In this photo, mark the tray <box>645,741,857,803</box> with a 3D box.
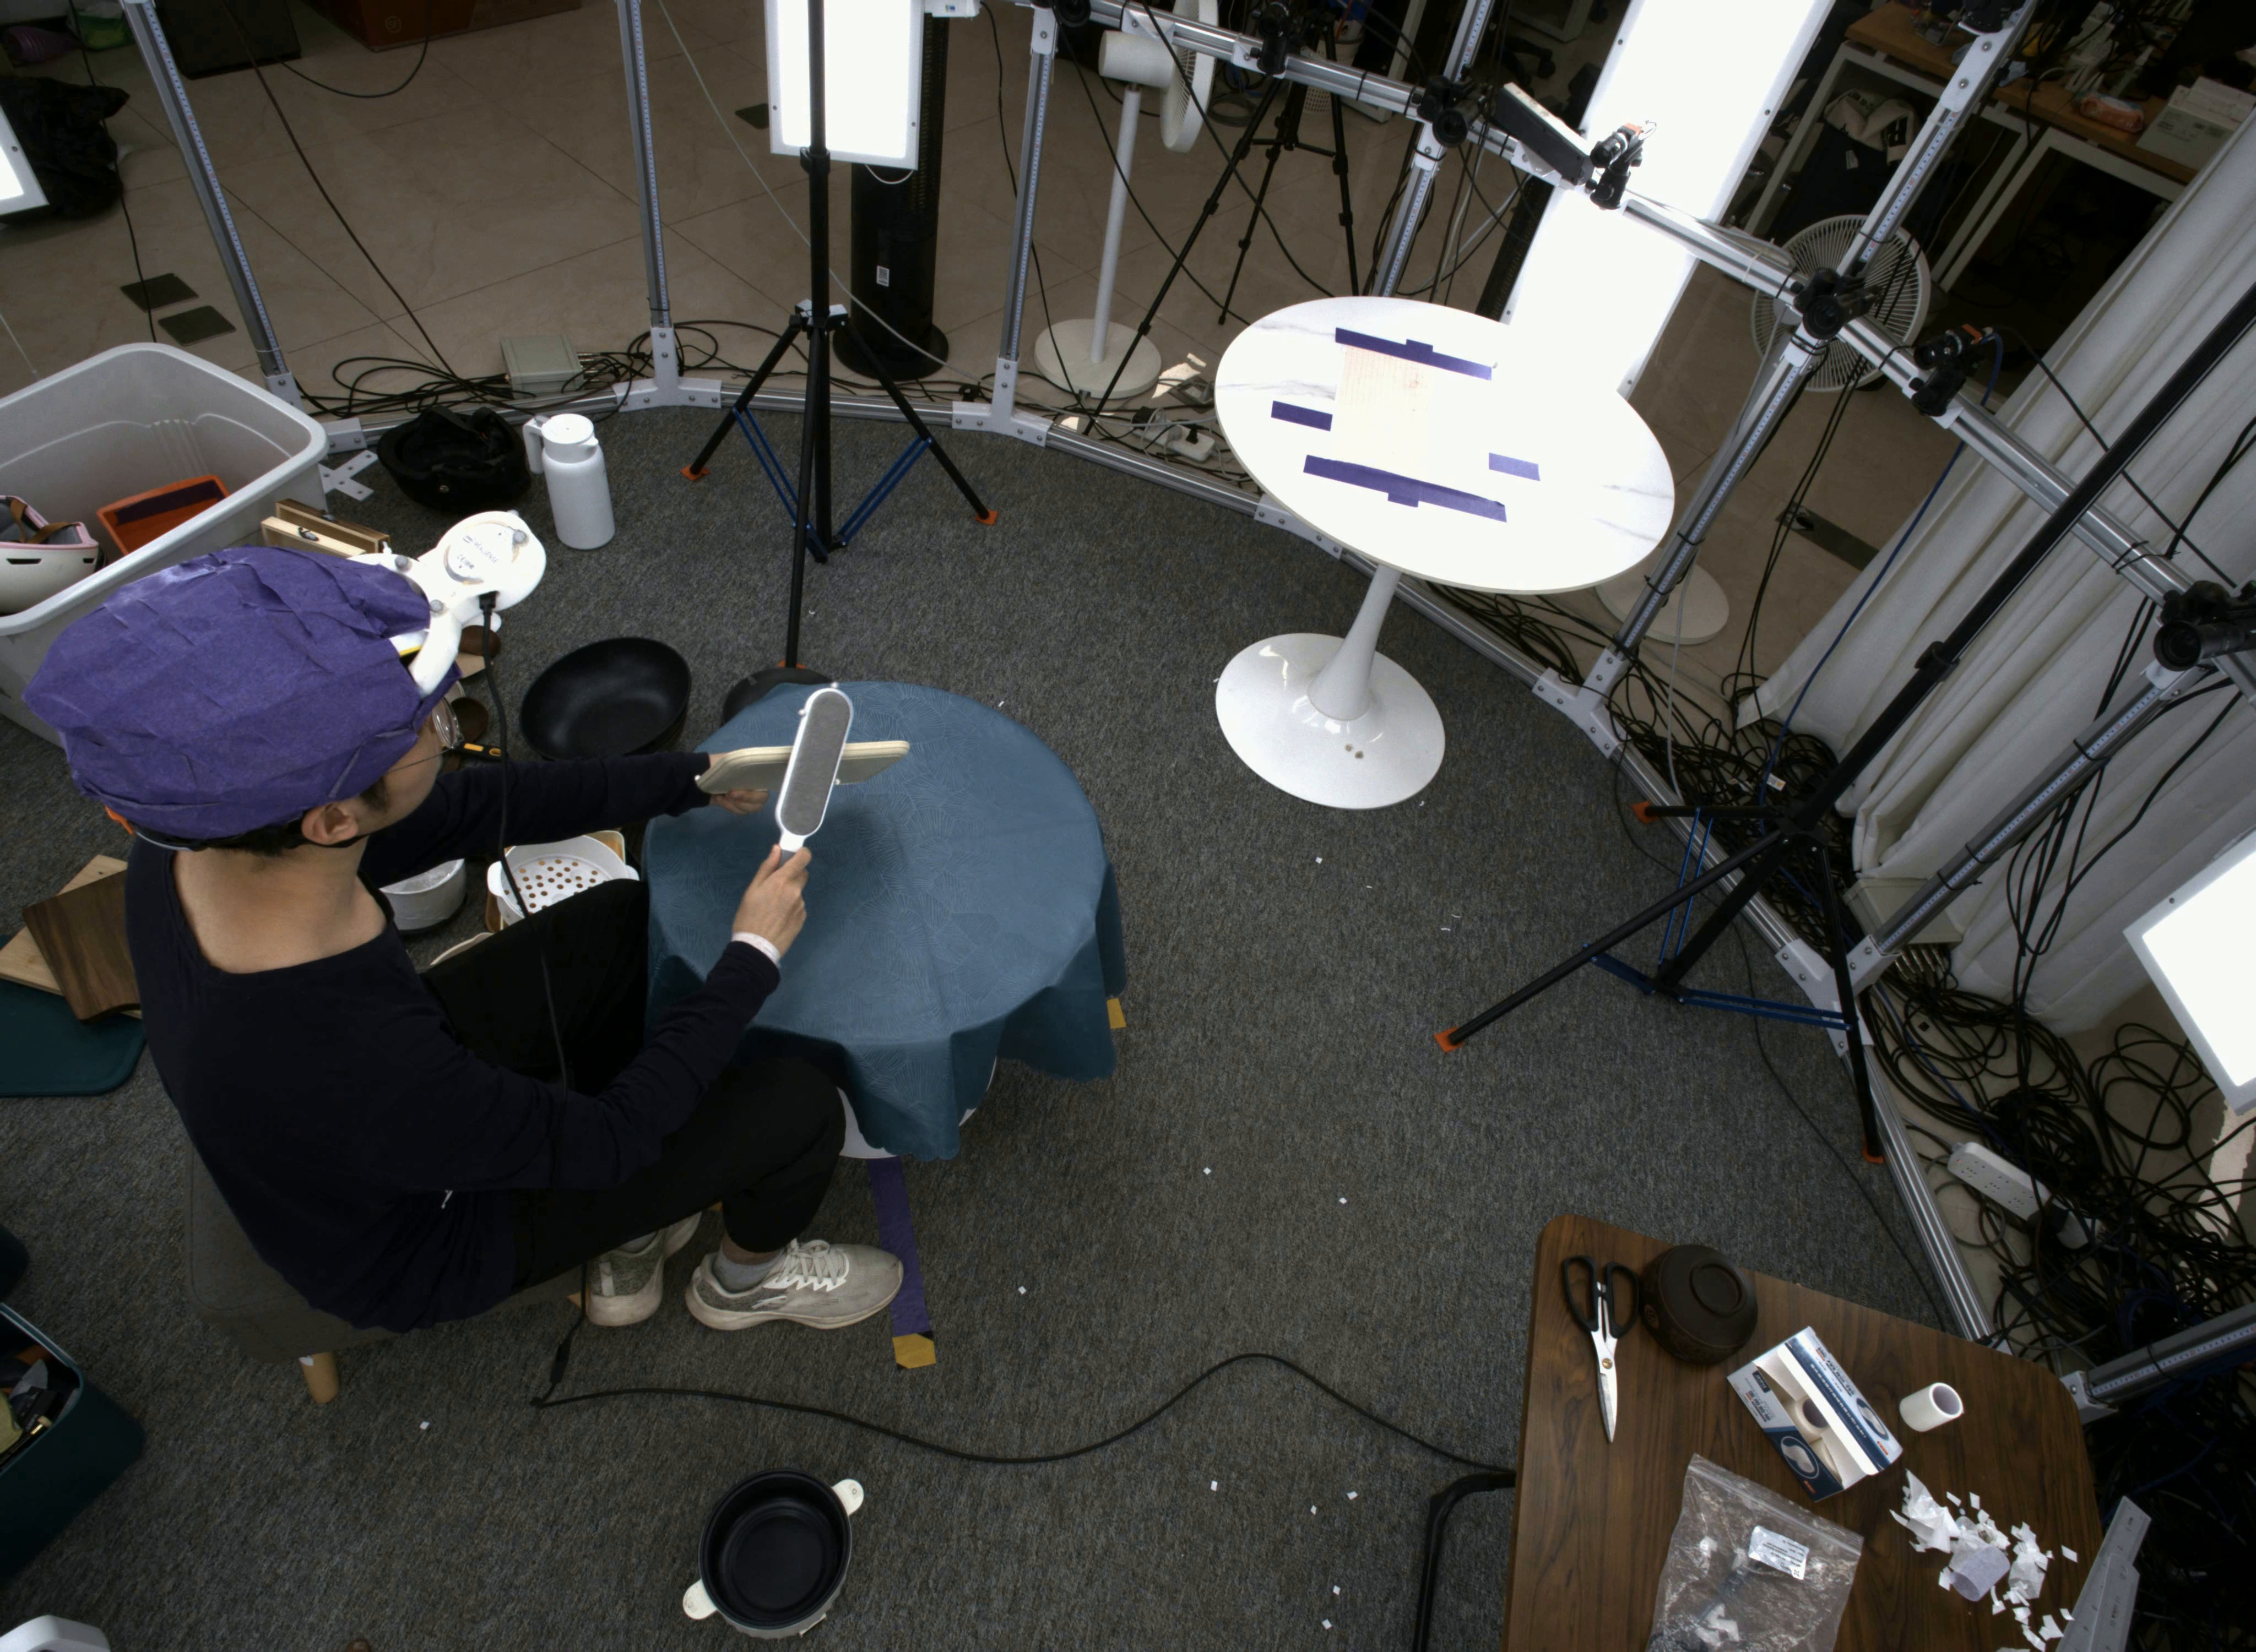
[{"bbox_3d":[-0.465,-0.066,1.599,0.243,0.168,0.017,-8,80,-39],"label":"tray"}]

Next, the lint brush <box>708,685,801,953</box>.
[{"bbox_3d":[-0.437,-0.009,1.490,0.062,0.020,0.311,16,85,-41],"label":"lint brush"}]
